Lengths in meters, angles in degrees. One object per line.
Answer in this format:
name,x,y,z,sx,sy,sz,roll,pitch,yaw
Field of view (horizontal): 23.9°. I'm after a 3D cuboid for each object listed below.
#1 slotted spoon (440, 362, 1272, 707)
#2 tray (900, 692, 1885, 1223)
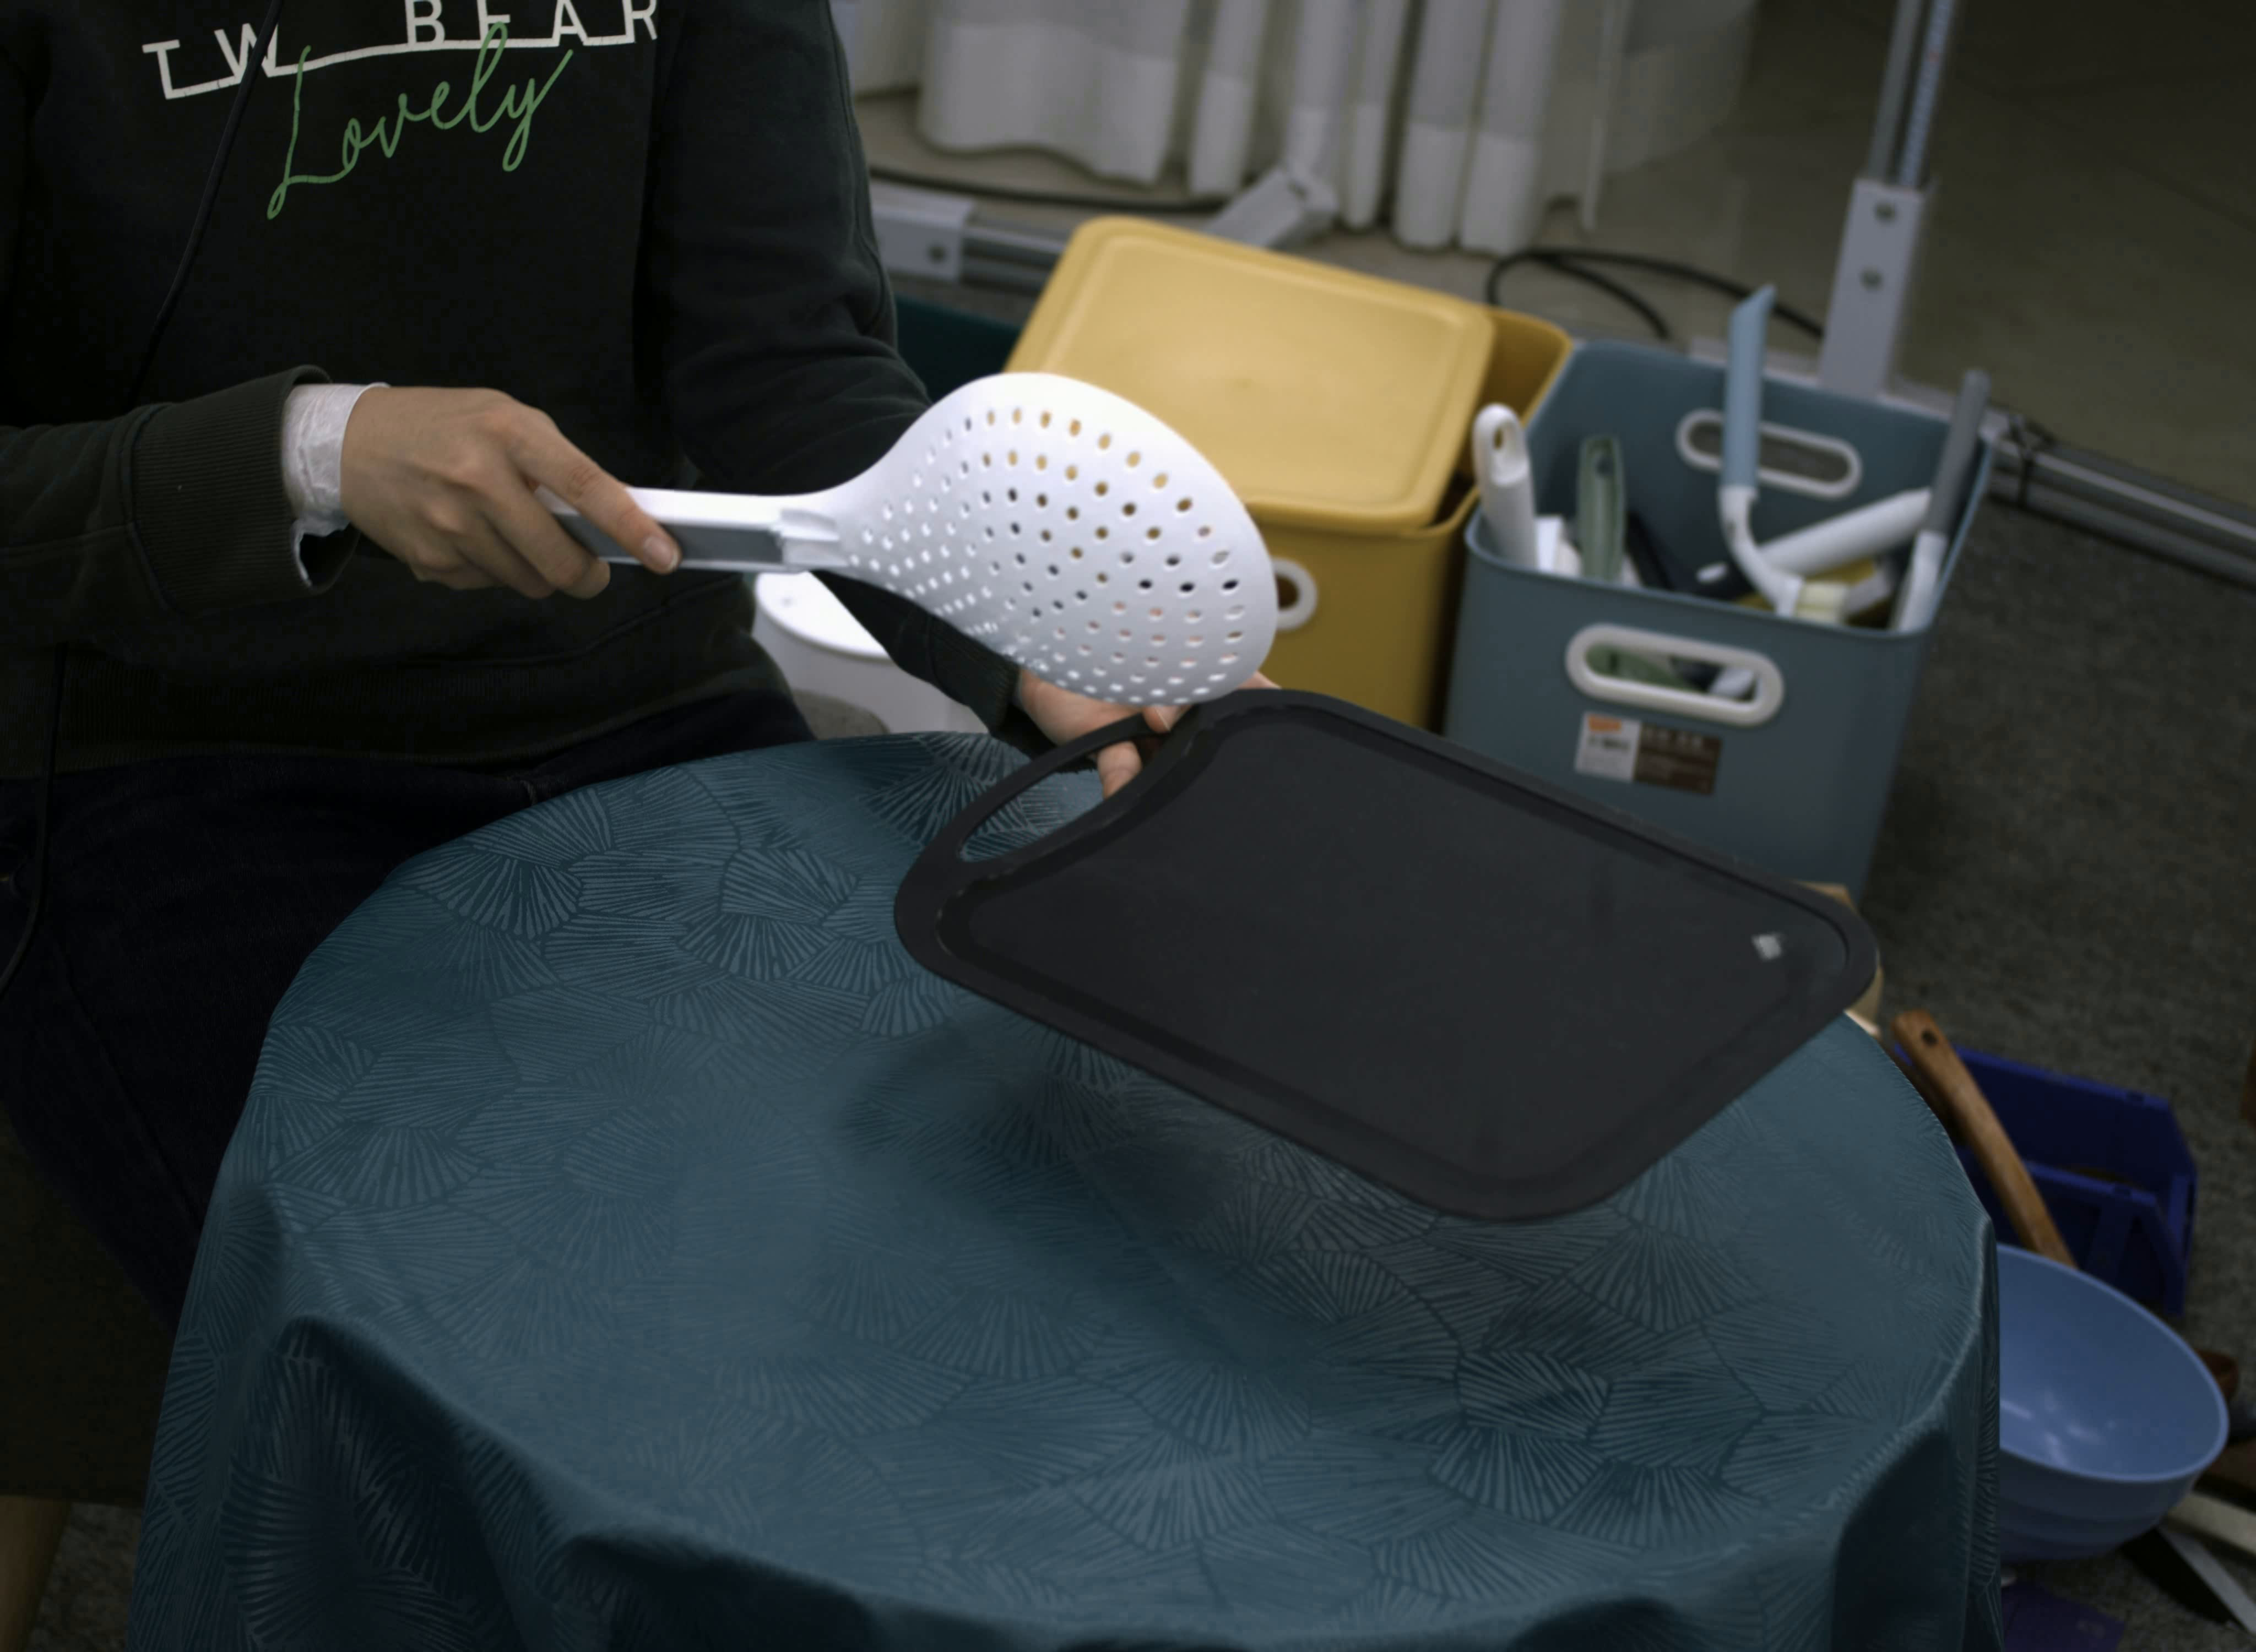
slotted spoon,-0.102,-0.098,1.806,0.352,0.135,0.046,9,42,40
tray,0.078,0.035,1.790,0.328,0.010,0.210,24,44,38
